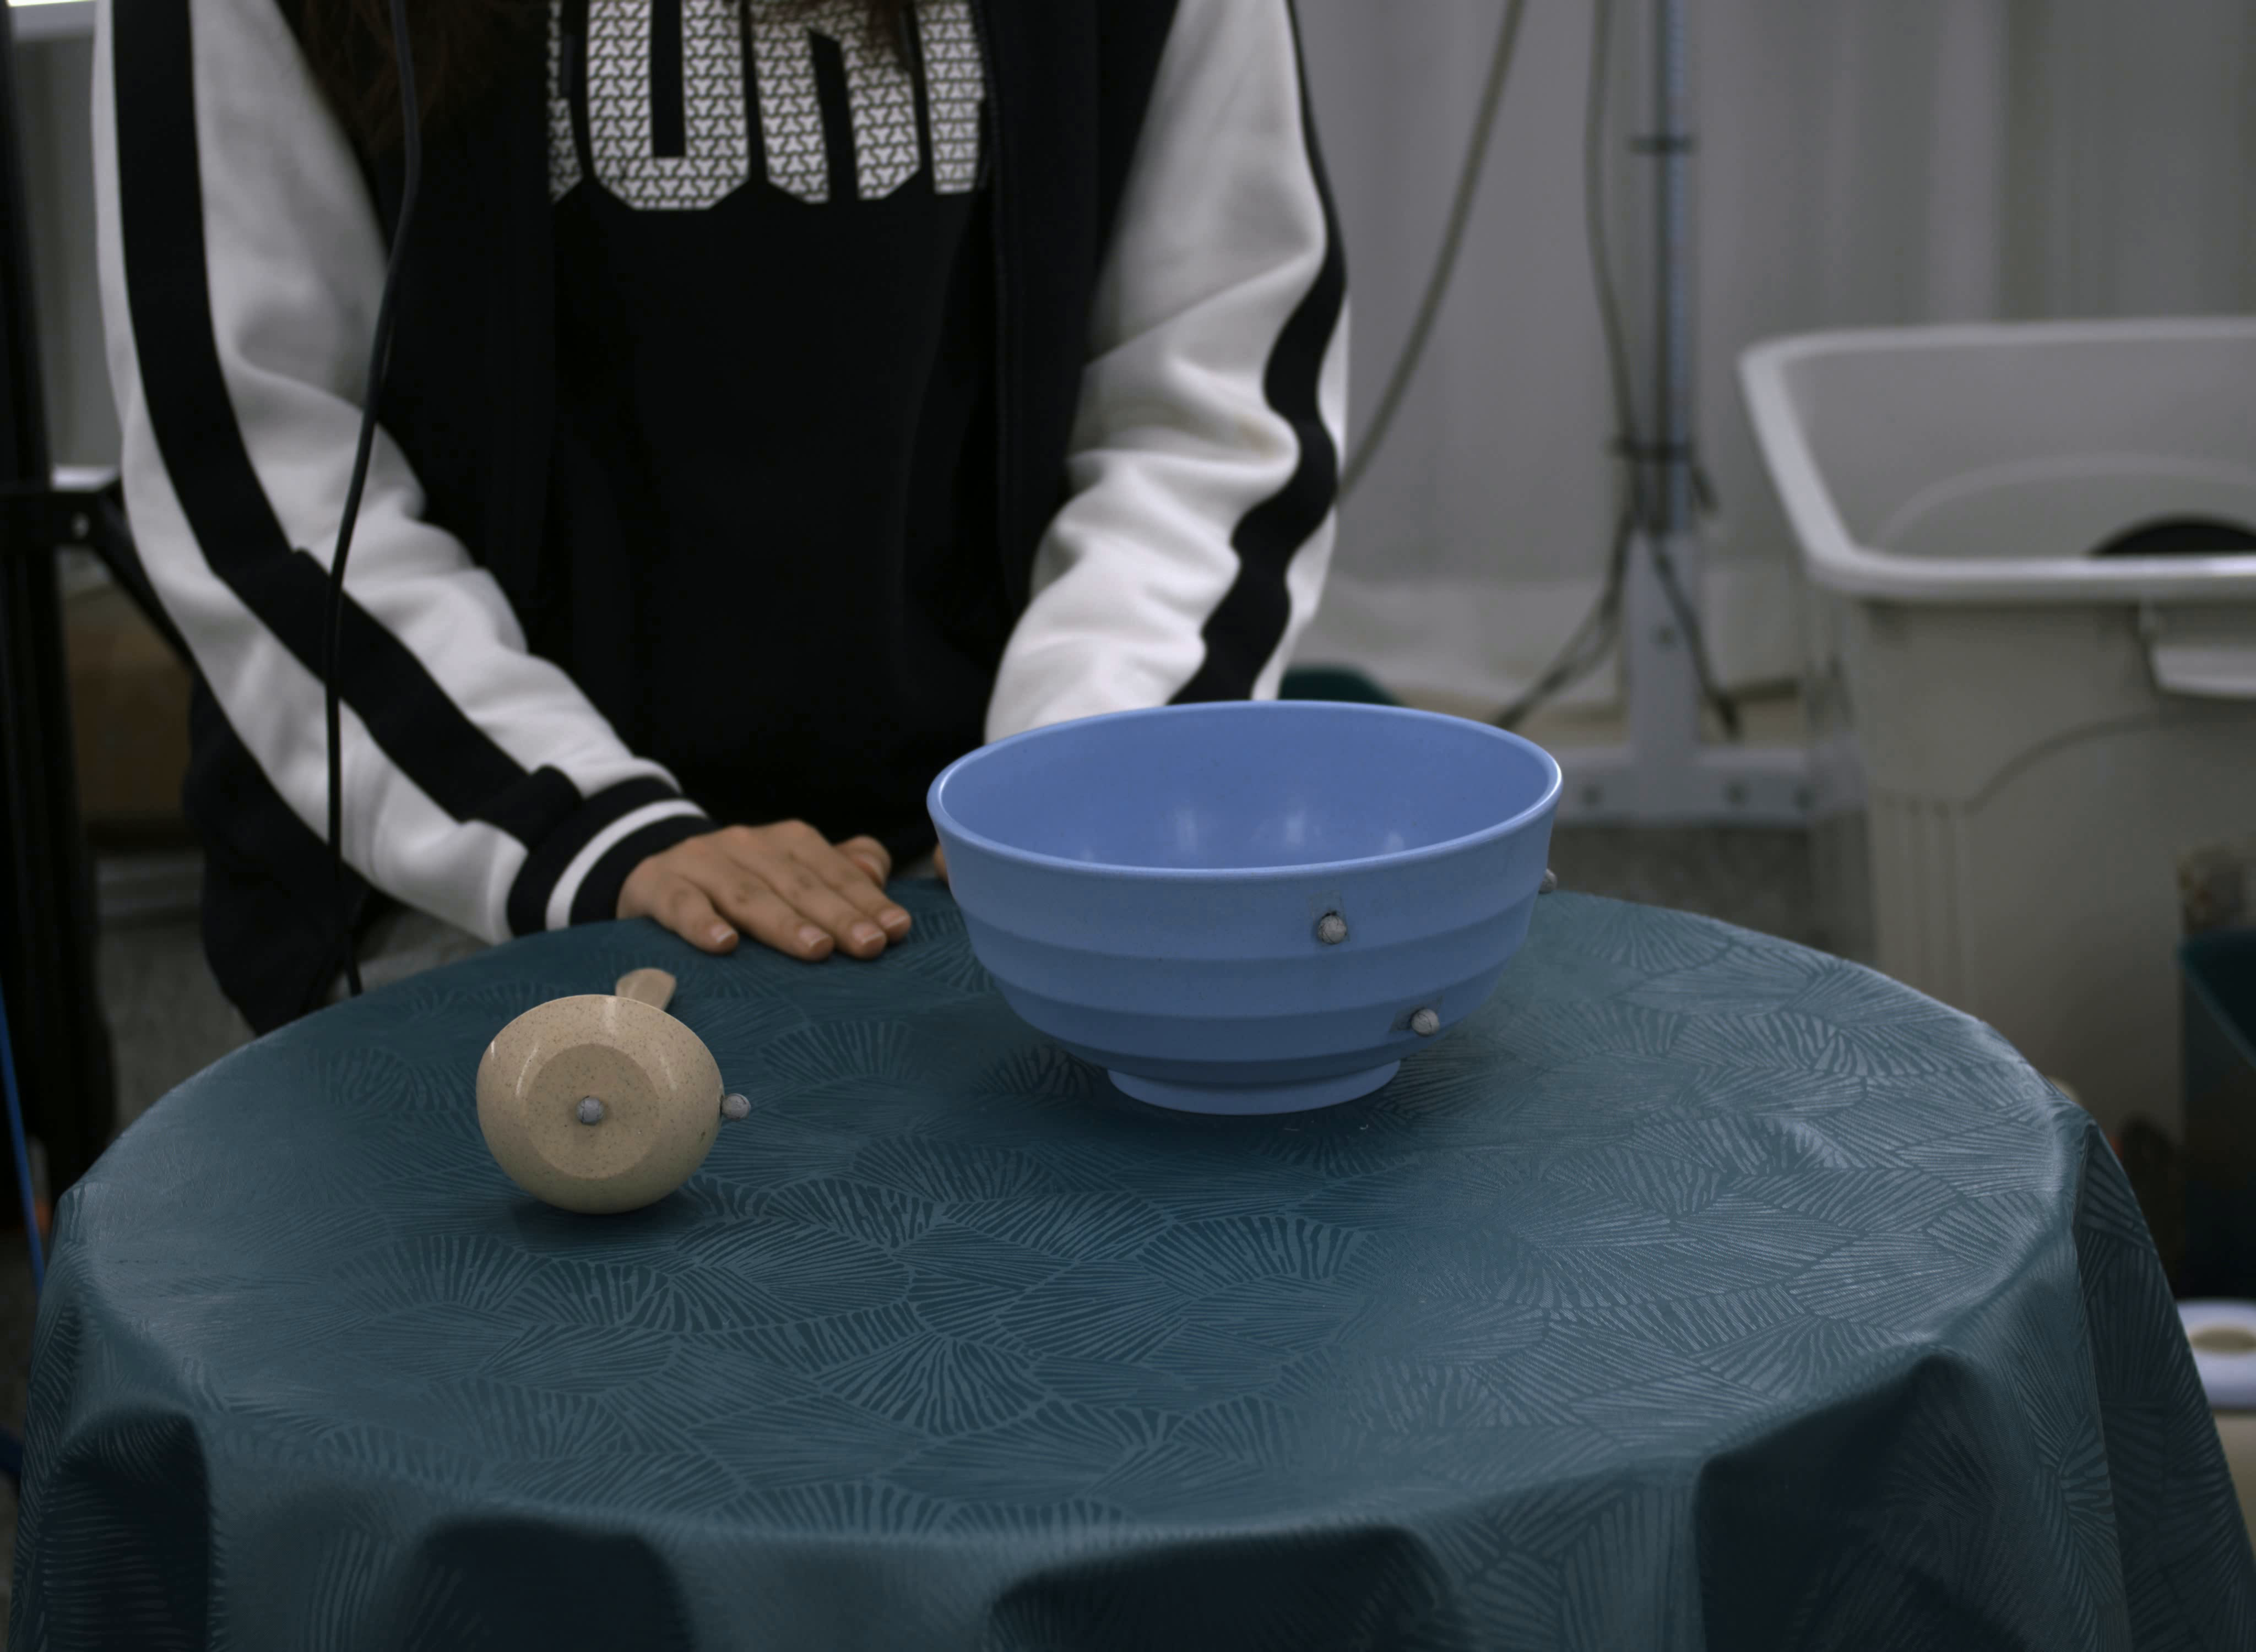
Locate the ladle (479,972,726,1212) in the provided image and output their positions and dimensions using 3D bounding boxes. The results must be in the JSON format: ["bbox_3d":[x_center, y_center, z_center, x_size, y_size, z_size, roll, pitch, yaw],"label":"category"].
[{"bbox_3d":[-0.159,0.052,1.650,0.071,0.073,0.256,-2,15,-3],"label":"ladle"}]

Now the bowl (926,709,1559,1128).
[{"bbox_3d":[0.038,0.034,1.651,0.195,0.095,0.197,-4,16,0],"label":"bowl"}]
